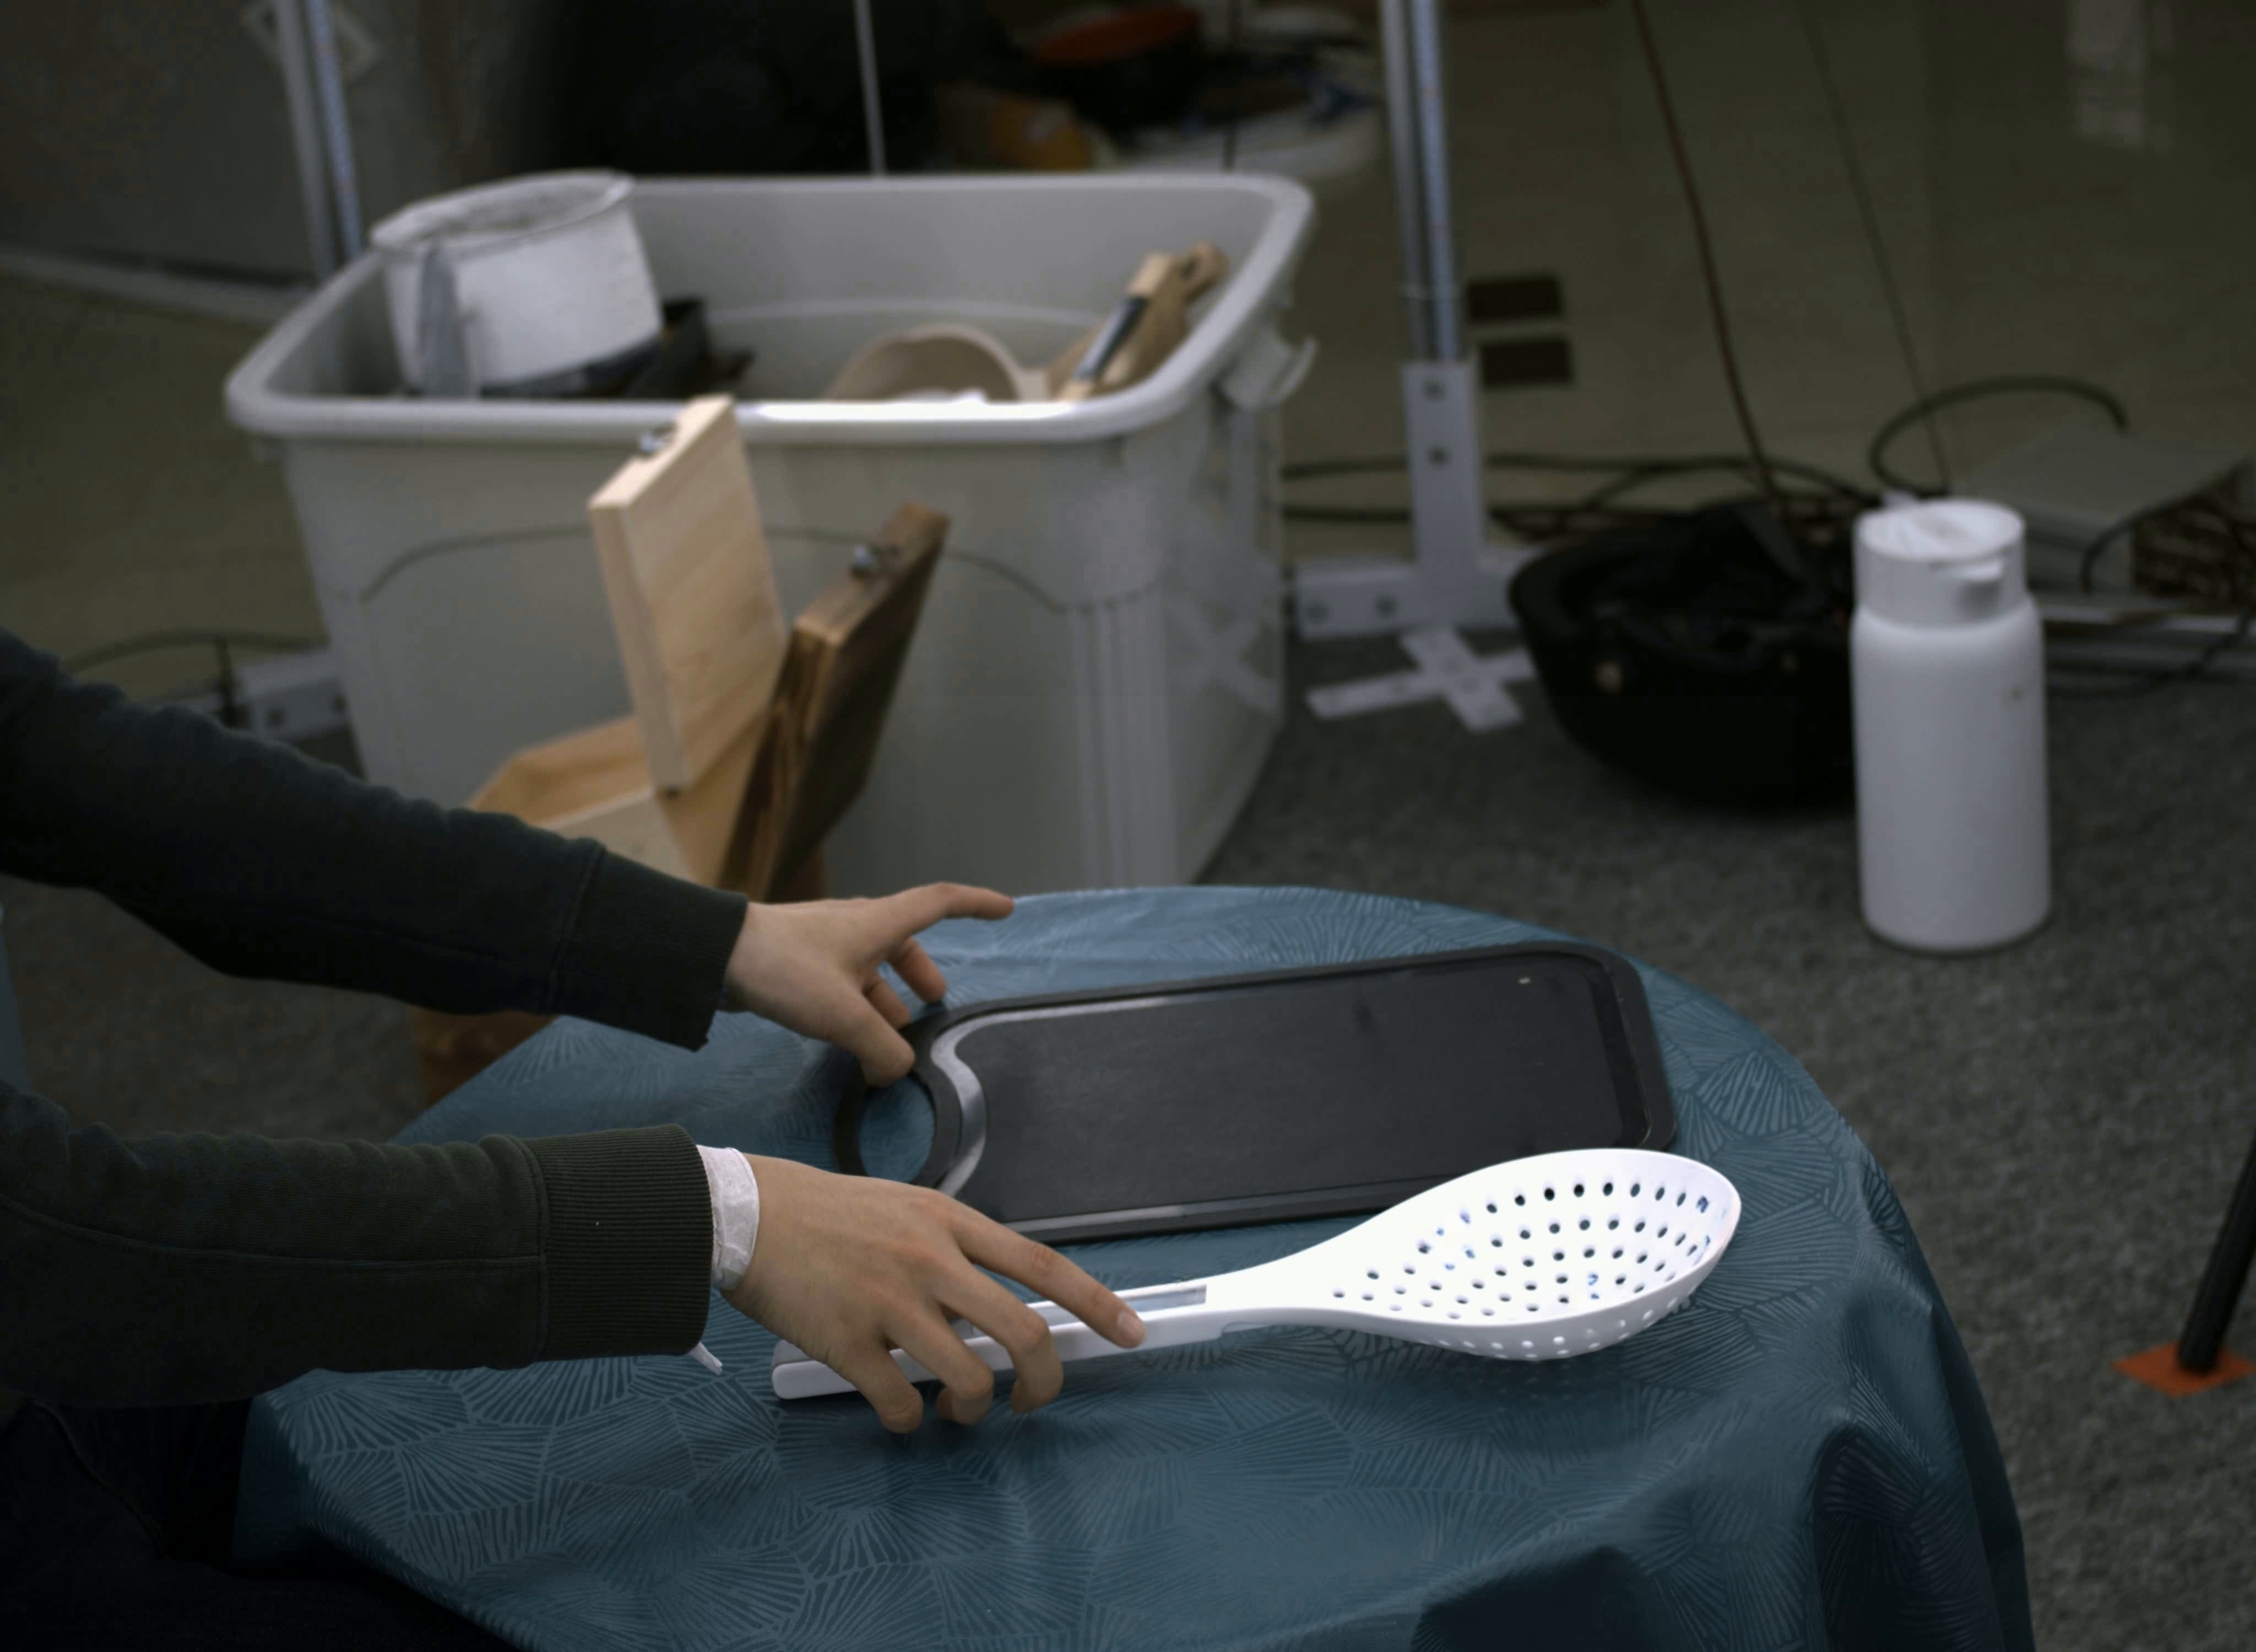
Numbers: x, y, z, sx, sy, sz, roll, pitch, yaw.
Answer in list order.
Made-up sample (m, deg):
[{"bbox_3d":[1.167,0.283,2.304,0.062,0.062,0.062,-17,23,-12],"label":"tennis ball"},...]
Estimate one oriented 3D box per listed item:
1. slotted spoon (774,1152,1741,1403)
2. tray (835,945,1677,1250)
[{"bbox_3d":[0.045,0.169,2.022,0.349,0.046,0.134,-5,21,5],"label":"slotted spoon"},{"bbox_3d":[0.046,0.104,2.210,0.325,0.010,0.208,-6,24,2],"label":"tray"}]
